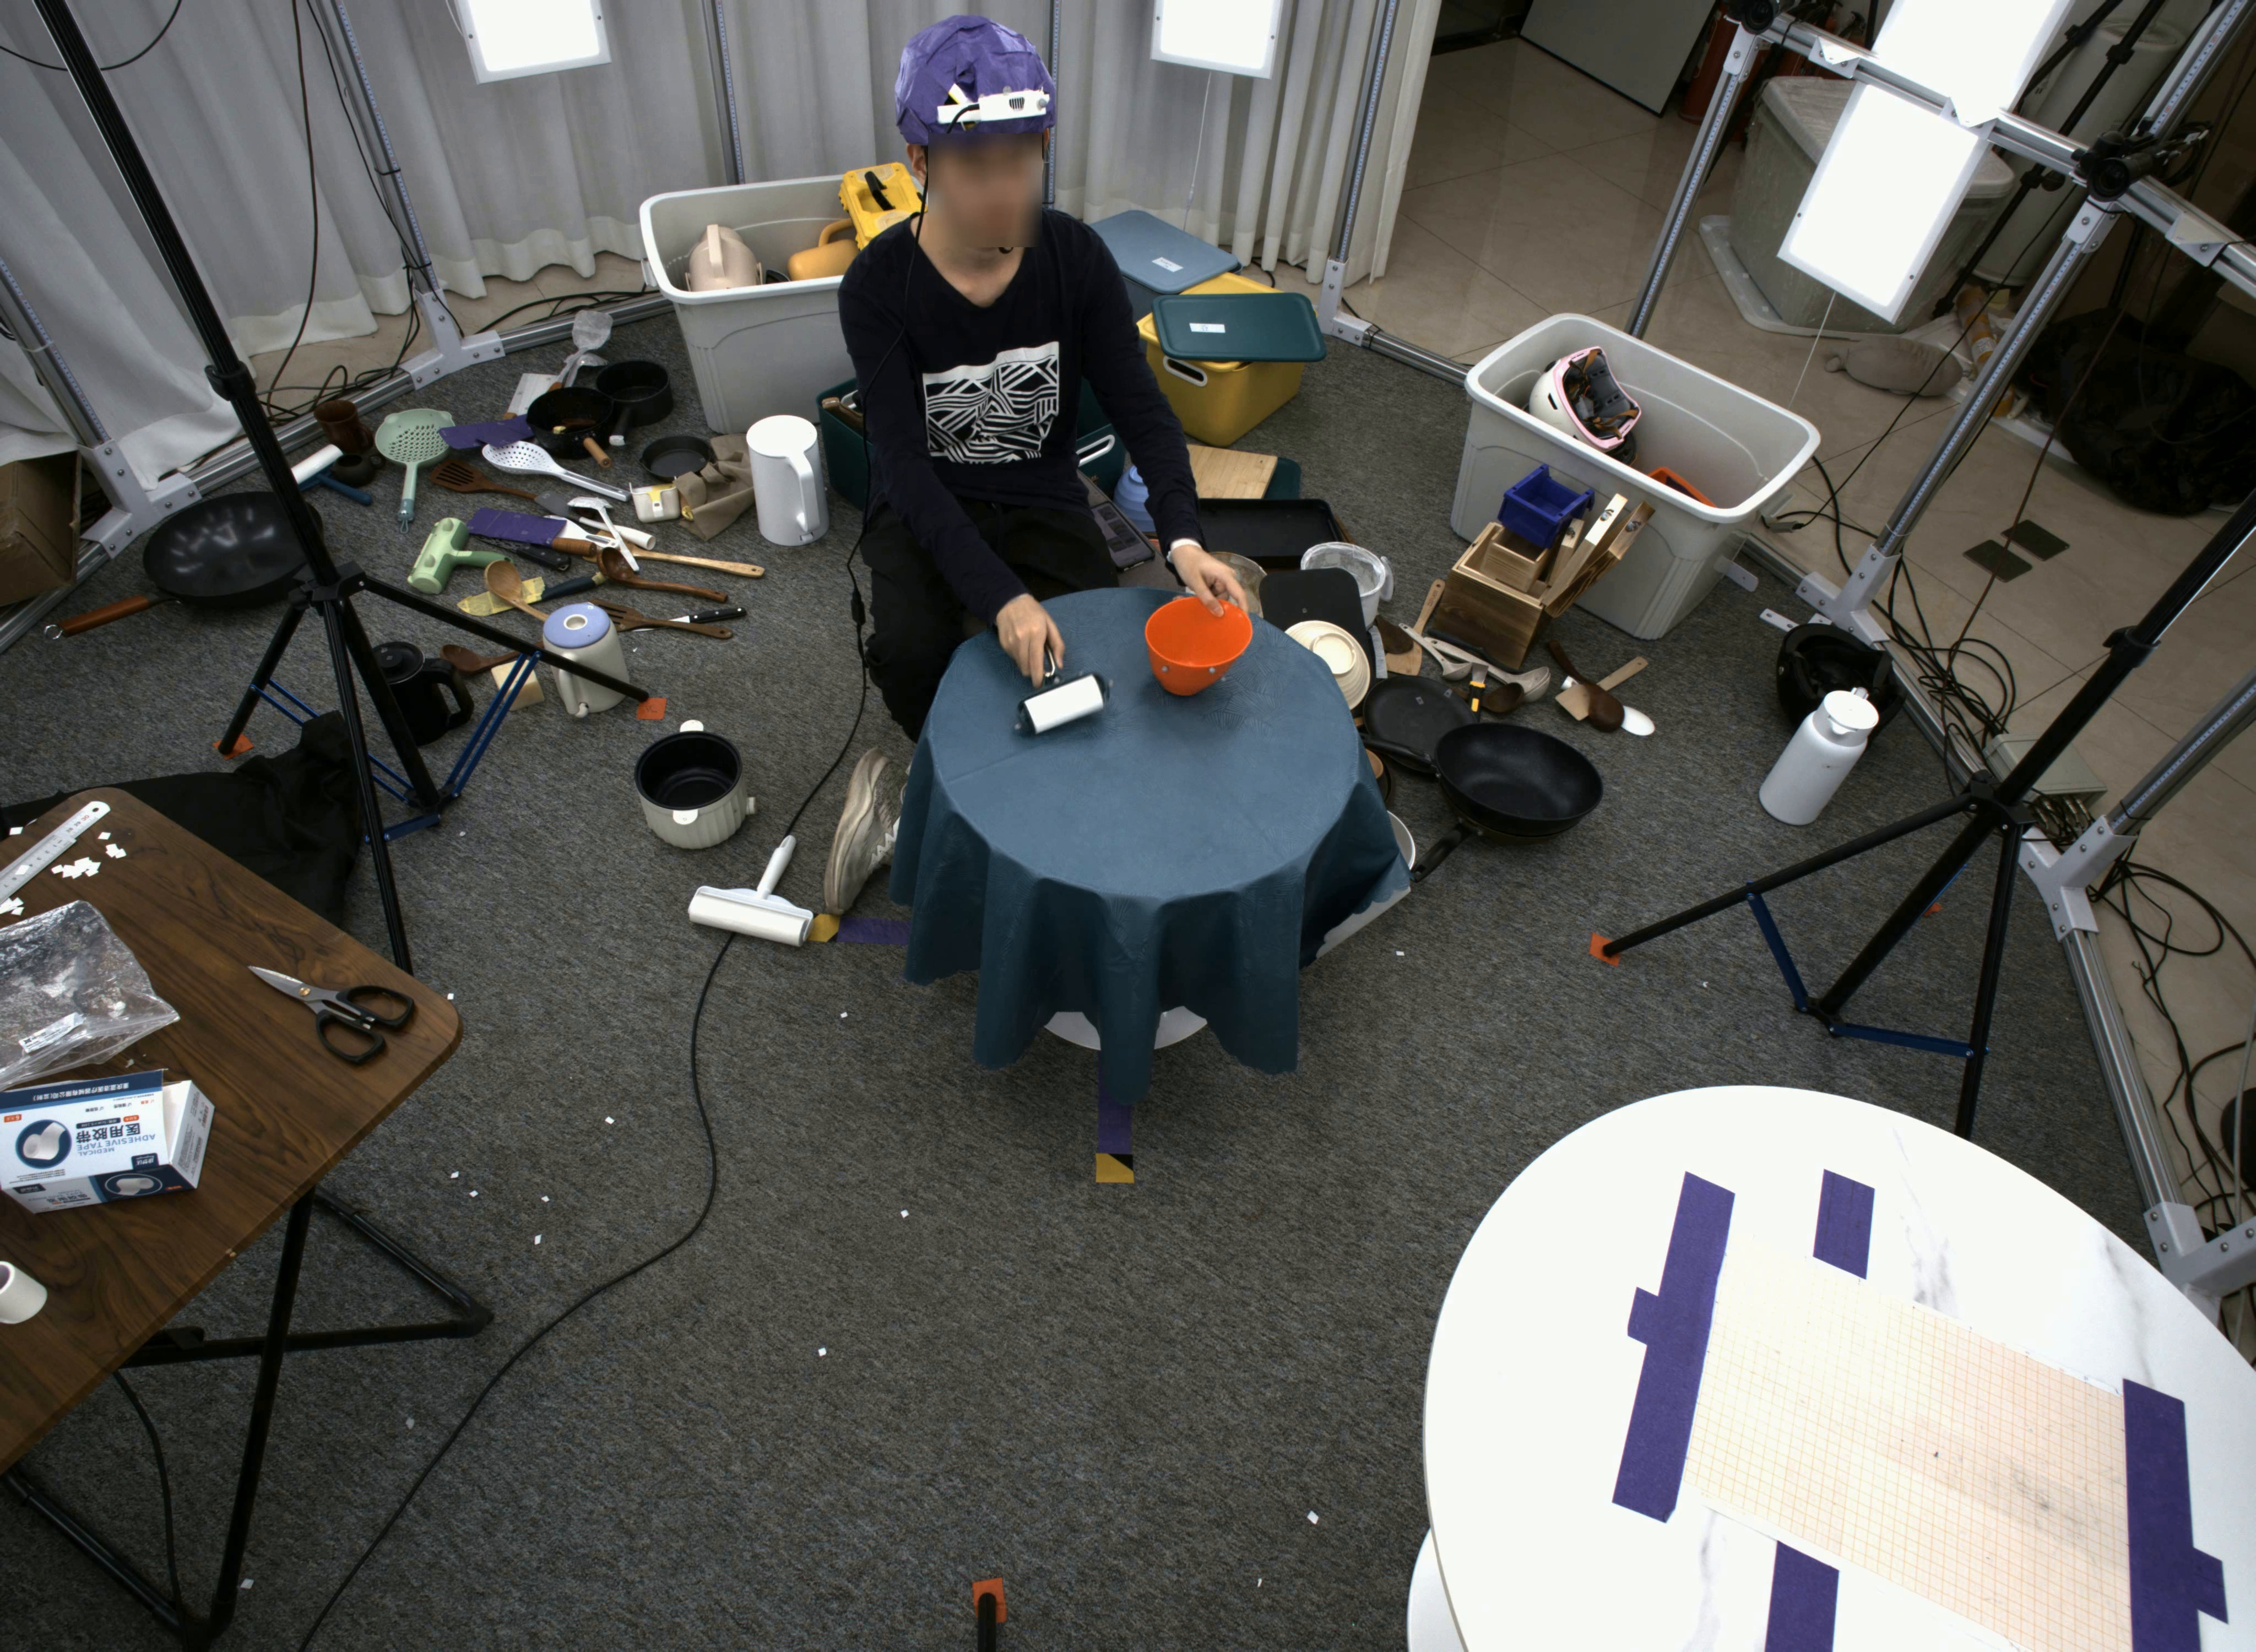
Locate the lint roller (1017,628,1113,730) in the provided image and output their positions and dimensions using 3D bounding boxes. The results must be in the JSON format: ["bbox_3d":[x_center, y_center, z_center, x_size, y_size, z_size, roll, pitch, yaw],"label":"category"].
[{"bbox_3d":[-0.112,-0.225,1.798,0.134,0.047,0.184,-23,60,-5],"label":"lint roller"}]

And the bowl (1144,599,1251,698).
[{"bbox_3d":[0.093,-0.243,1.822,0.148,0.102,0.152,5,45,-5],"label":"bowl"}]
